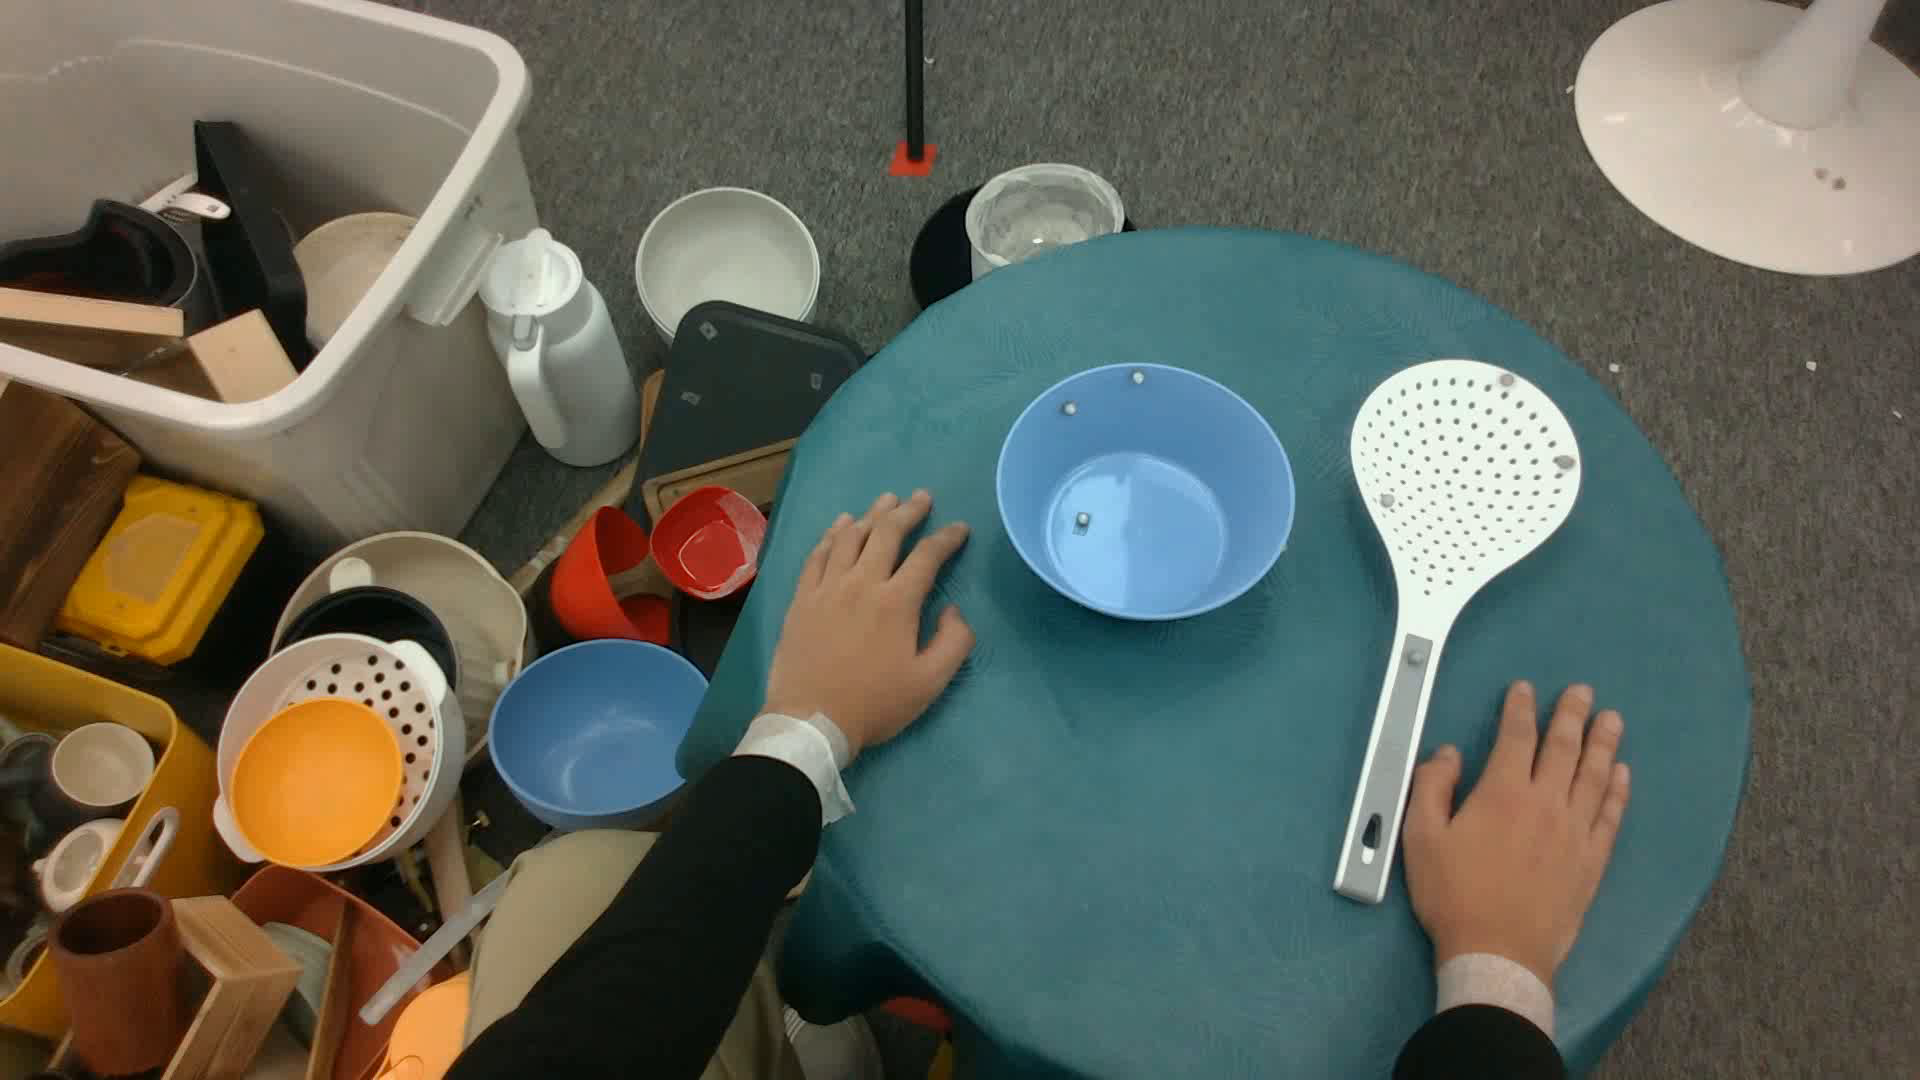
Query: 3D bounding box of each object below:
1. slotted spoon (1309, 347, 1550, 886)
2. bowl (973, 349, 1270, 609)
[{"bbox_3d":[0.263,0.036,0.824,0.136,0.045,0.351,18,64,8],"label":"slotted spoon"},{"bbox_3d":[0.095,-0.026,0.839,0.176,0.070,0.177,1,63,-1],"label":"bowl"}]
